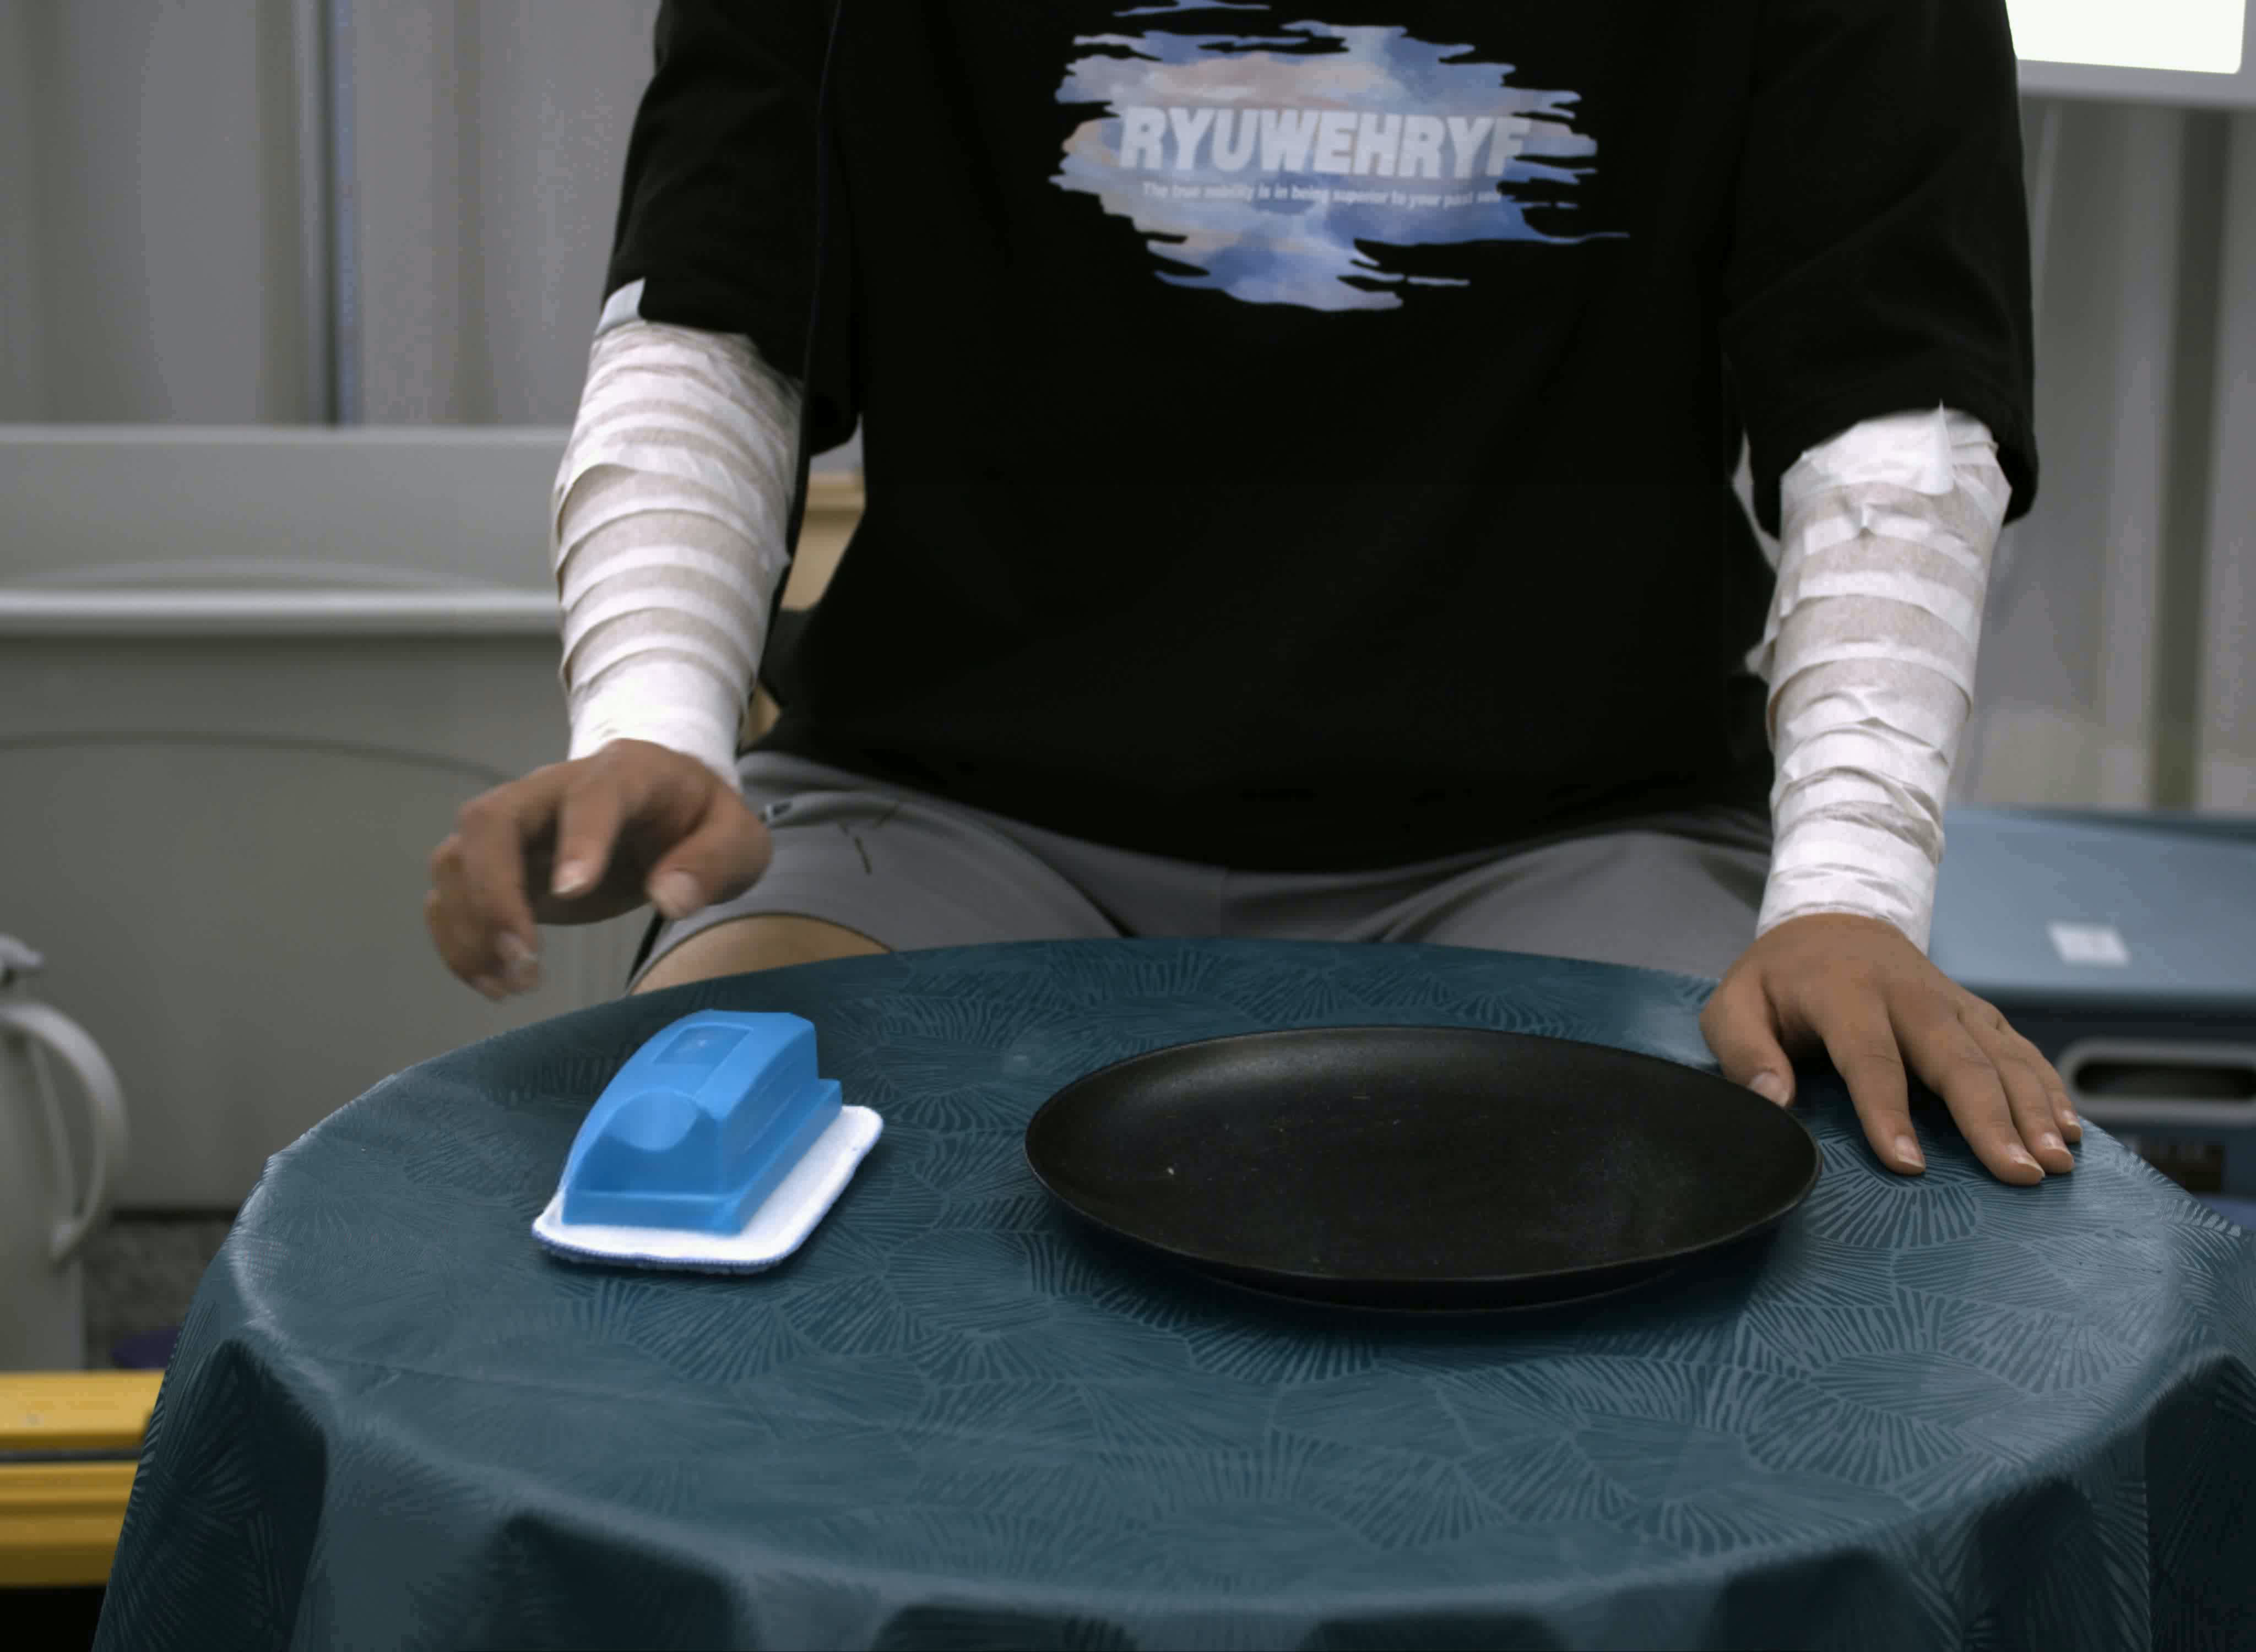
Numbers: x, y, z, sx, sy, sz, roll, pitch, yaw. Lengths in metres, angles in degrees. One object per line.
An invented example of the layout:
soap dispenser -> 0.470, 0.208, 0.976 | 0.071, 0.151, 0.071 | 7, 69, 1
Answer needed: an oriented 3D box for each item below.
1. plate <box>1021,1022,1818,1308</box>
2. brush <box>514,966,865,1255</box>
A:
plate -> 0.088, 0.106, 1.607 | 0.243, 0.023, 0.243 | 1, 15, 0
brush -> -0.132, 0.083, 1.606 | 0.083, 0.056, 0.143 | 7, 19, 8
